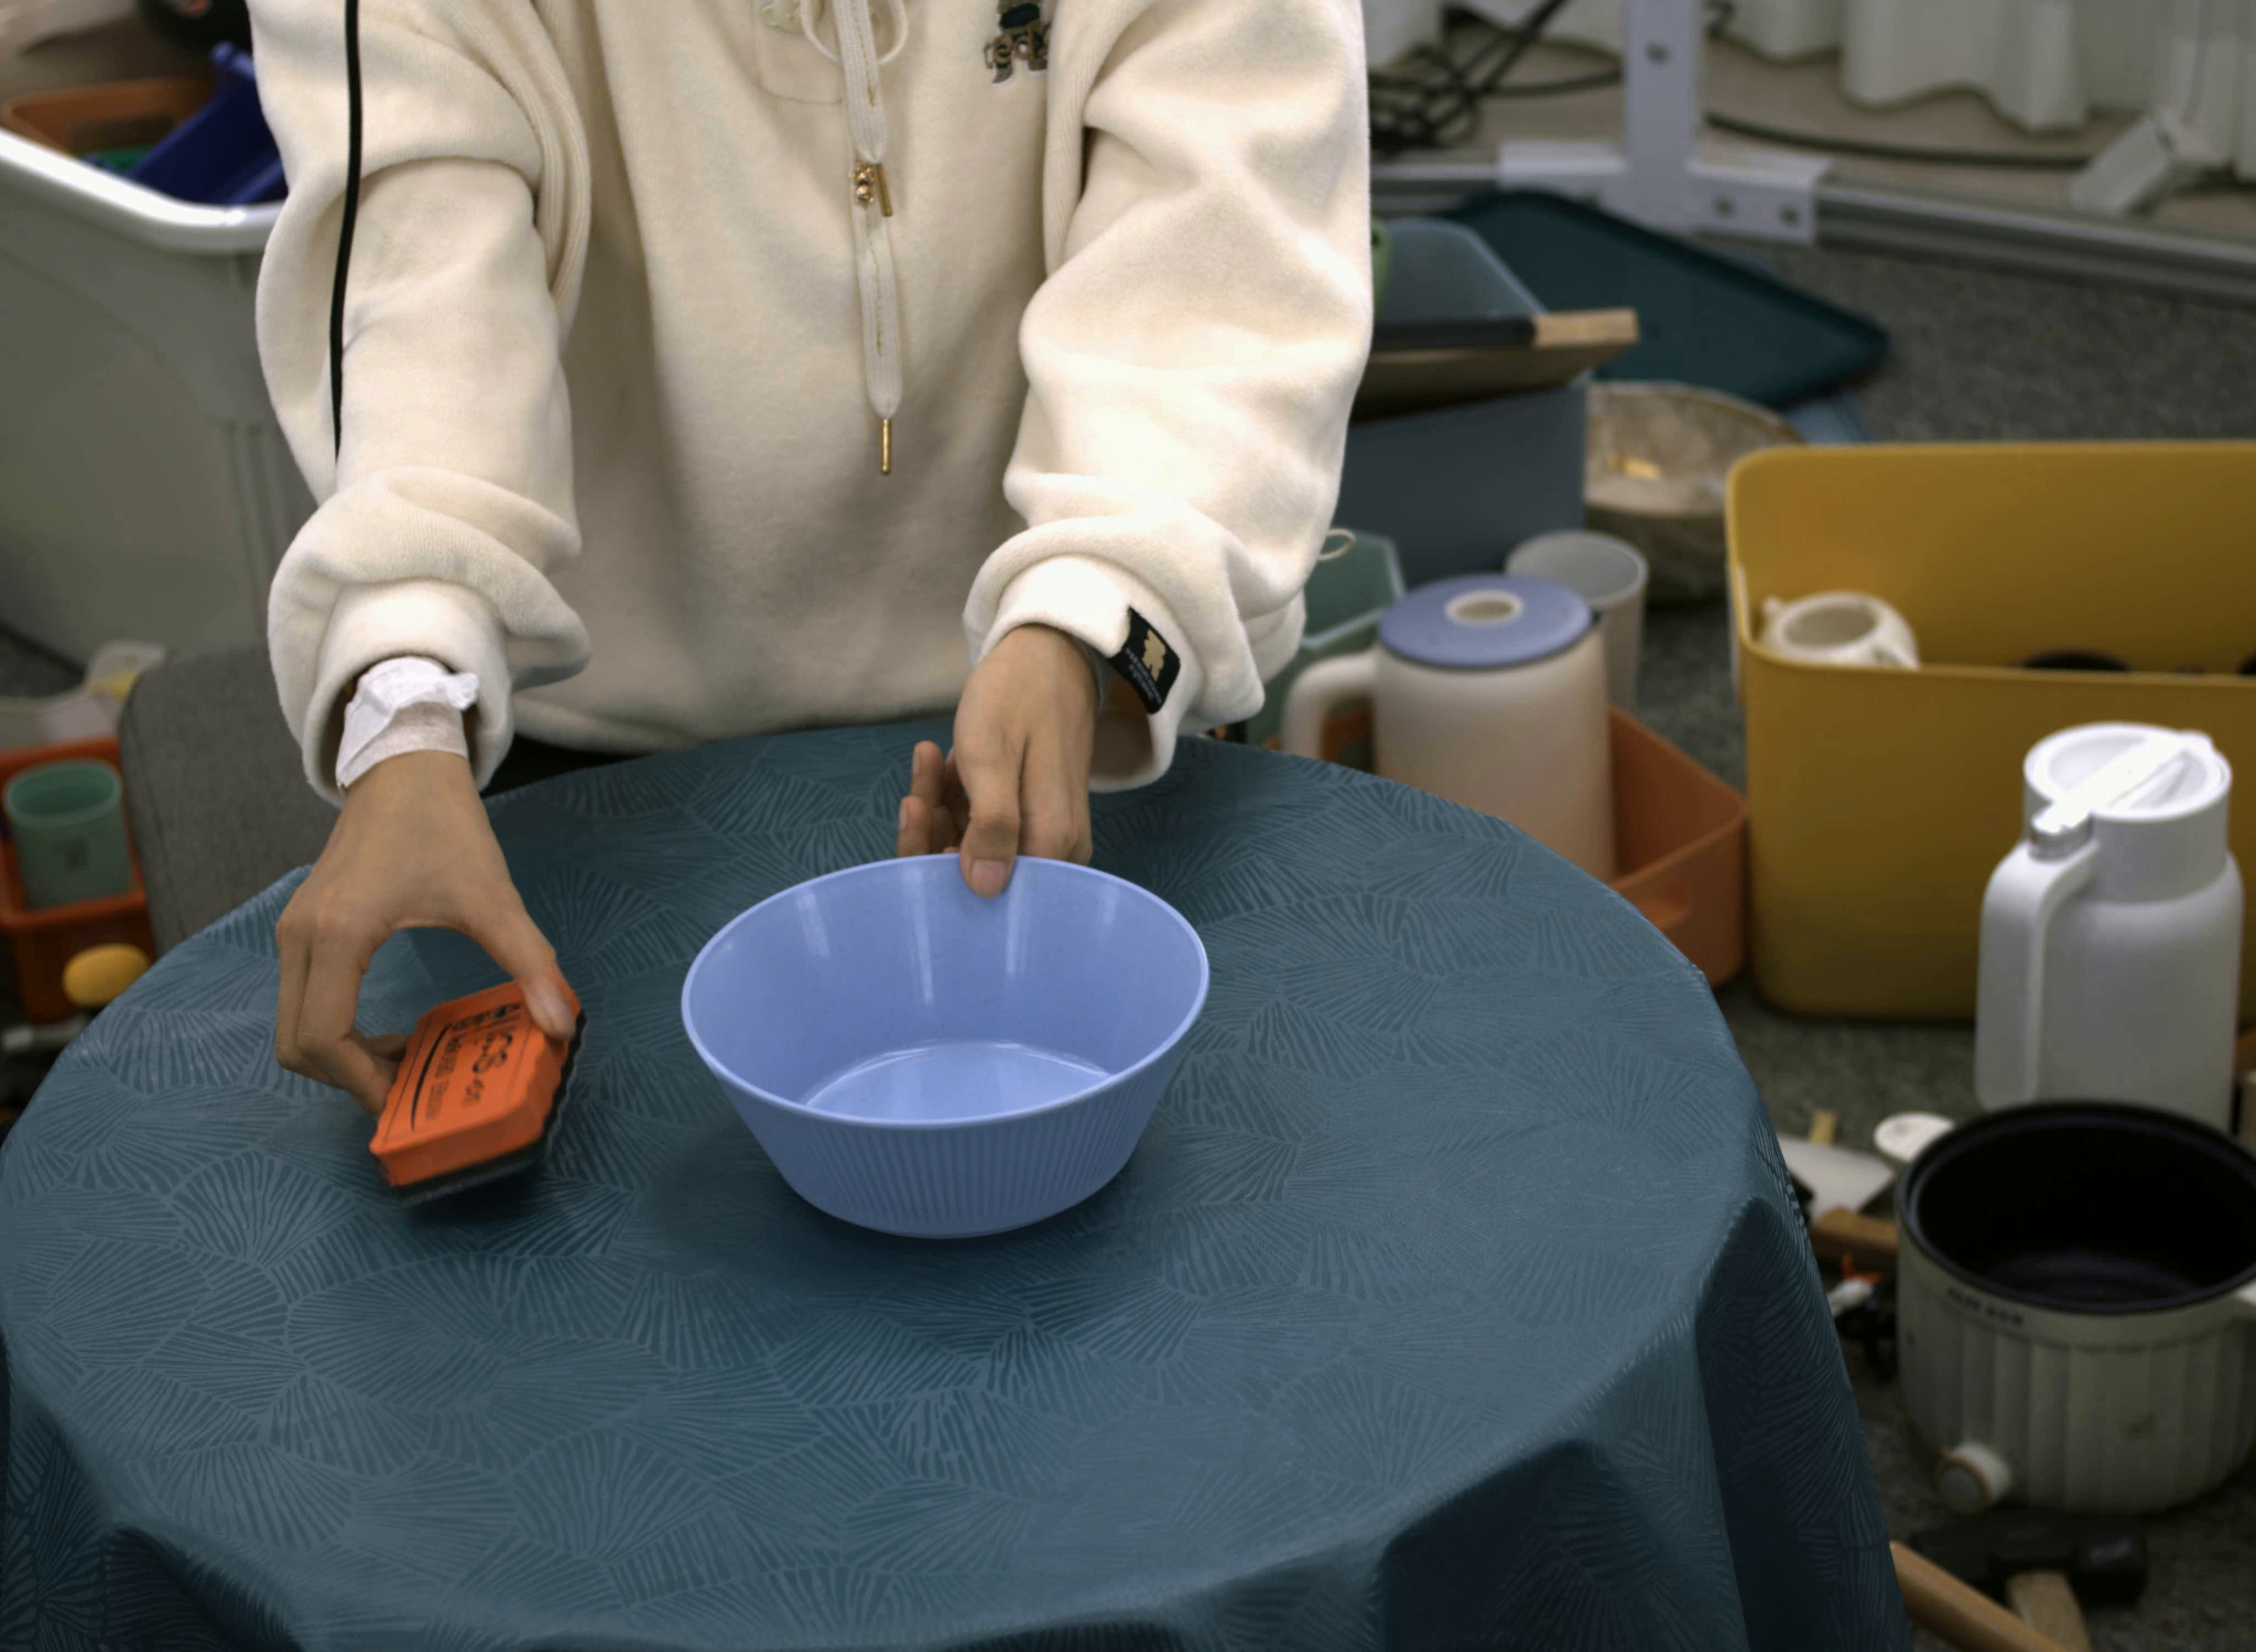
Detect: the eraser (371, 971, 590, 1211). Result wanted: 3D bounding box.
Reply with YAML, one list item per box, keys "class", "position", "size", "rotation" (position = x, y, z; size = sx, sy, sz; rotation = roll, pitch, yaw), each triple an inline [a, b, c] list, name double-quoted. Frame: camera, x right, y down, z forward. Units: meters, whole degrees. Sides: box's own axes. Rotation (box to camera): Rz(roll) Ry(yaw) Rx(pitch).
- class: "eraser"
  position: [-0.218, 0.089, 1.897]
  size: [0.058, 0.023, 0.109]
  rotation: [-17, 24, 12]

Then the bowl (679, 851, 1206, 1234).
- class: "bowl"
  position: [-0.060, 0.078, 1.872]
  size: [0.175, 0.069, 0.179]
  rotation: [-2, 28, 1]
